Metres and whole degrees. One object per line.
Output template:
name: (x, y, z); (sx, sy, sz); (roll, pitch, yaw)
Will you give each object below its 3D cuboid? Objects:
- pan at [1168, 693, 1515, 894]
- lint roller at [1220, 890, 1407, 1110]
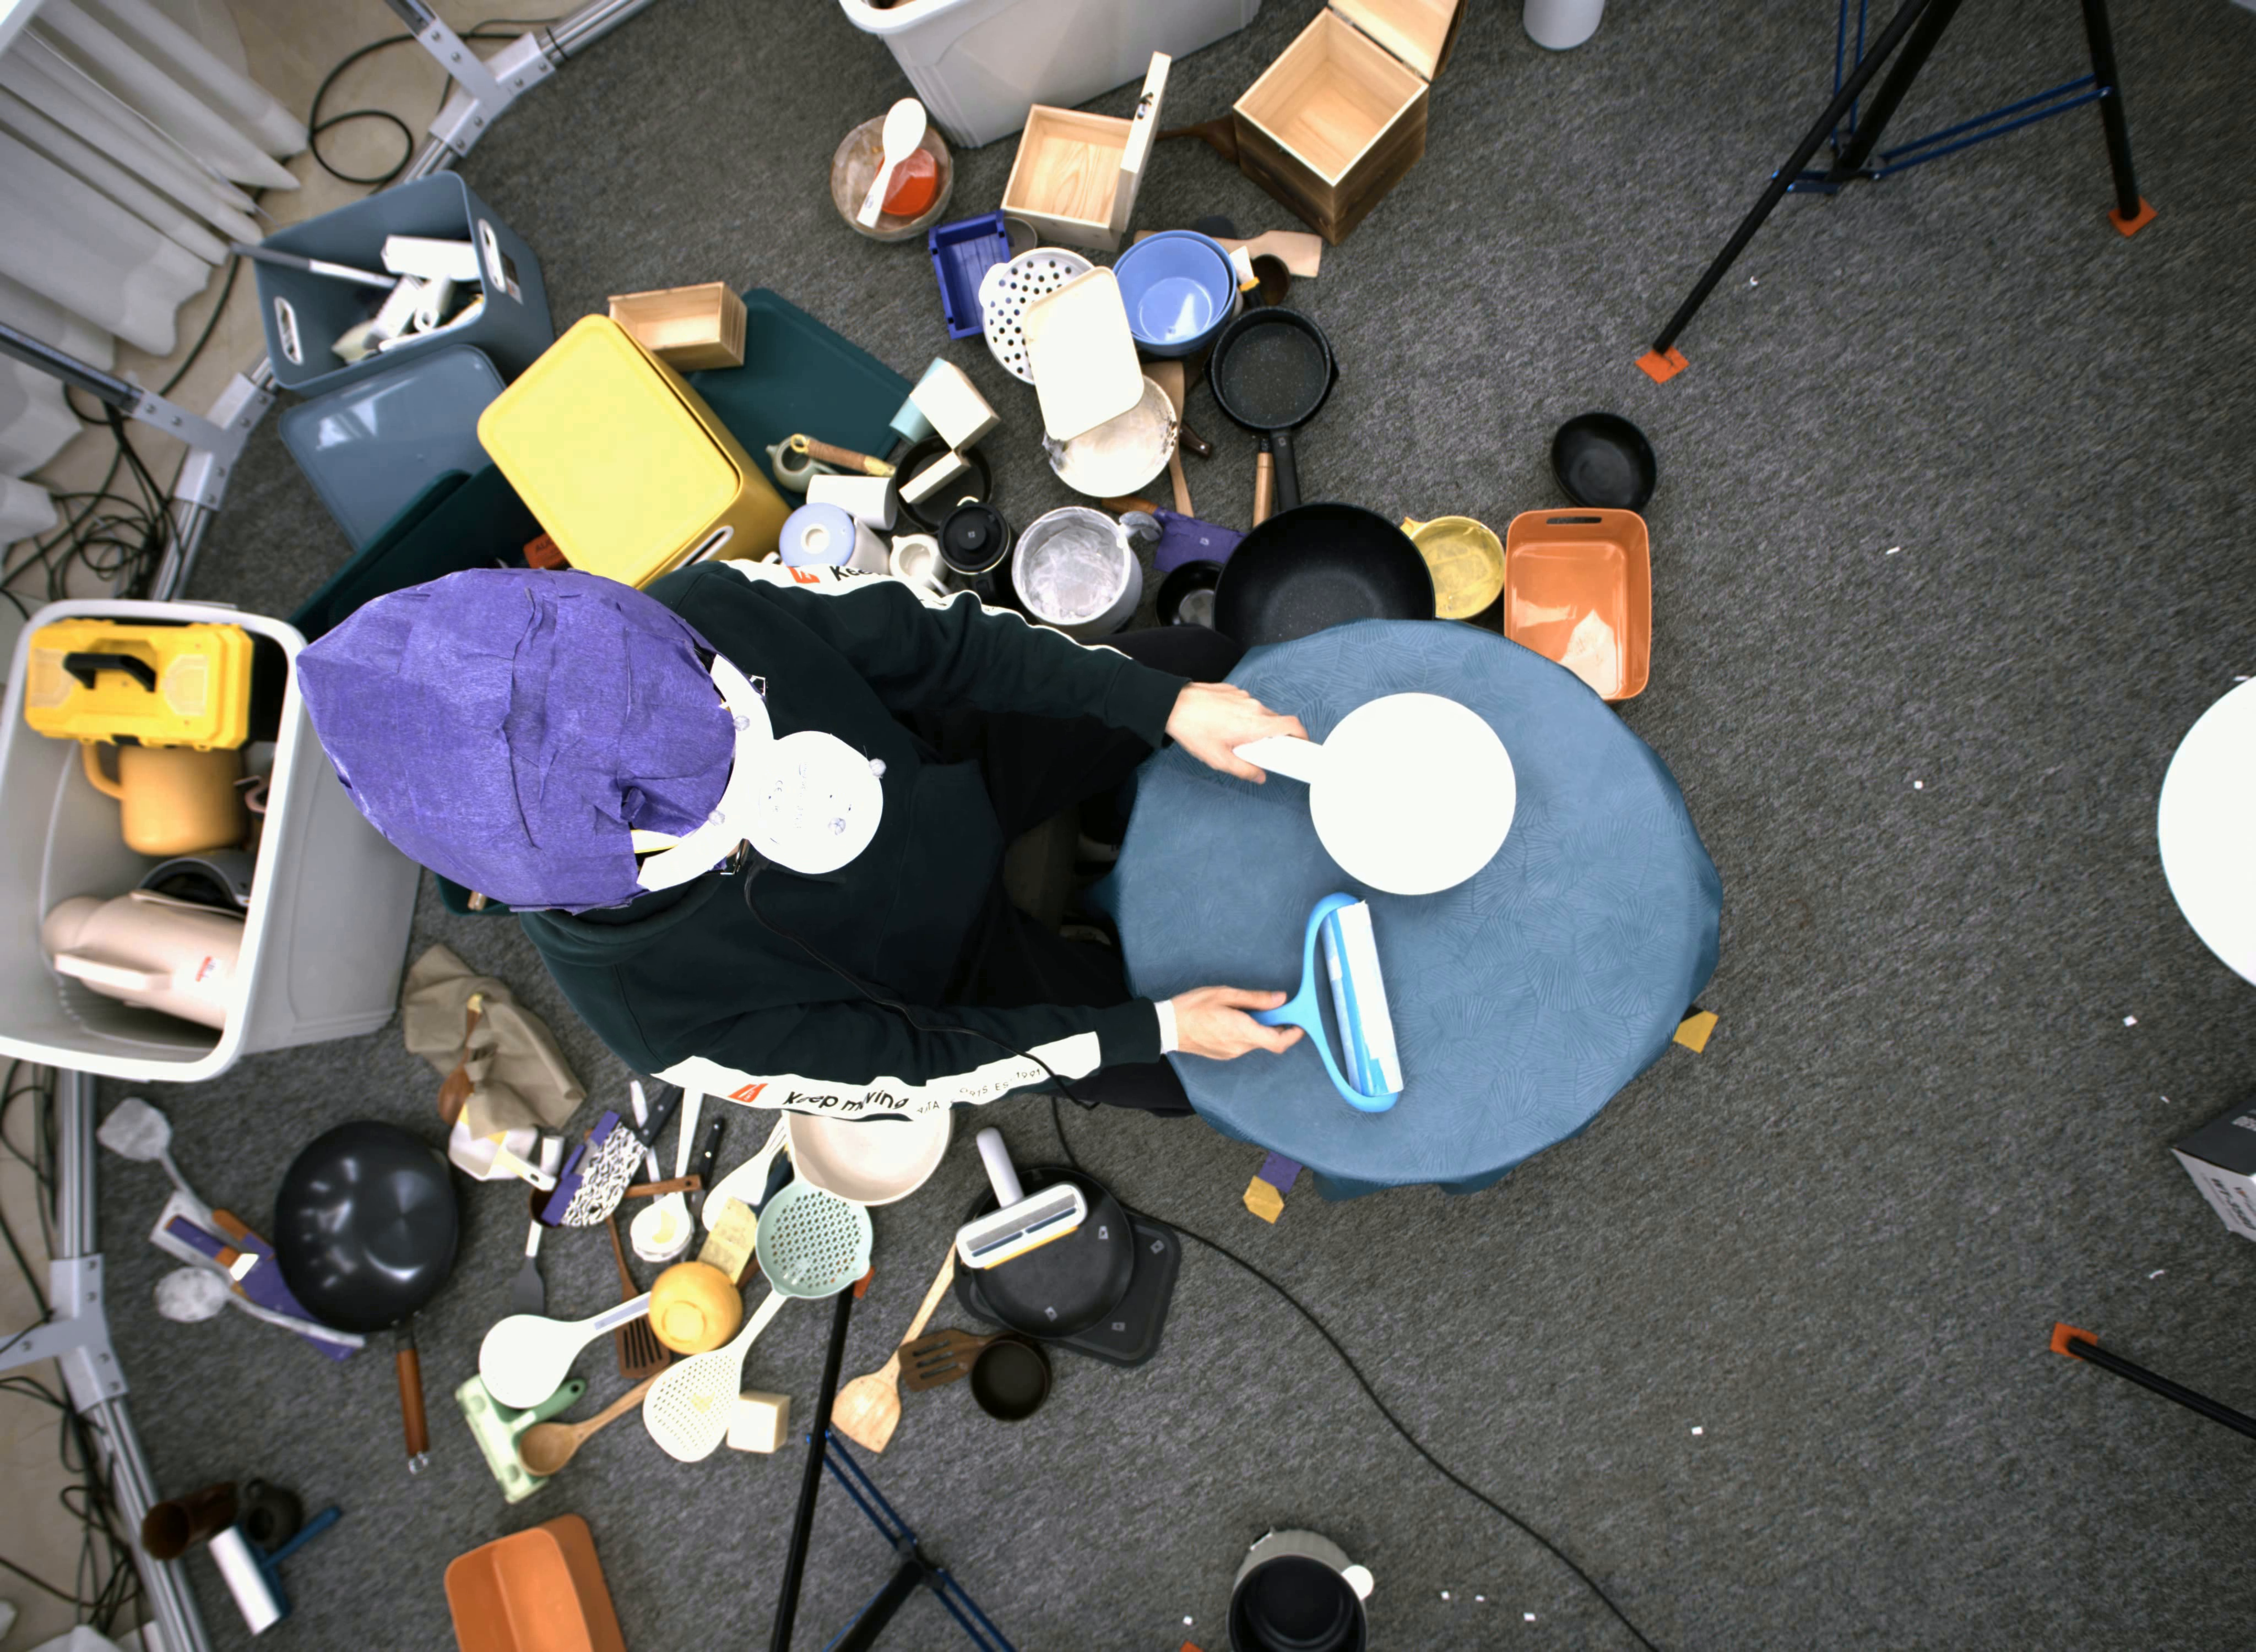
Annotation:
pan: (0.217, -0.054, 1.422); (0.355, 0.102, 0.201); (19, 91, 12)
lint roller: (0.183, 0.192, 1.434); (0.181, 0.068, 0.228); (-14, 86, 5)
